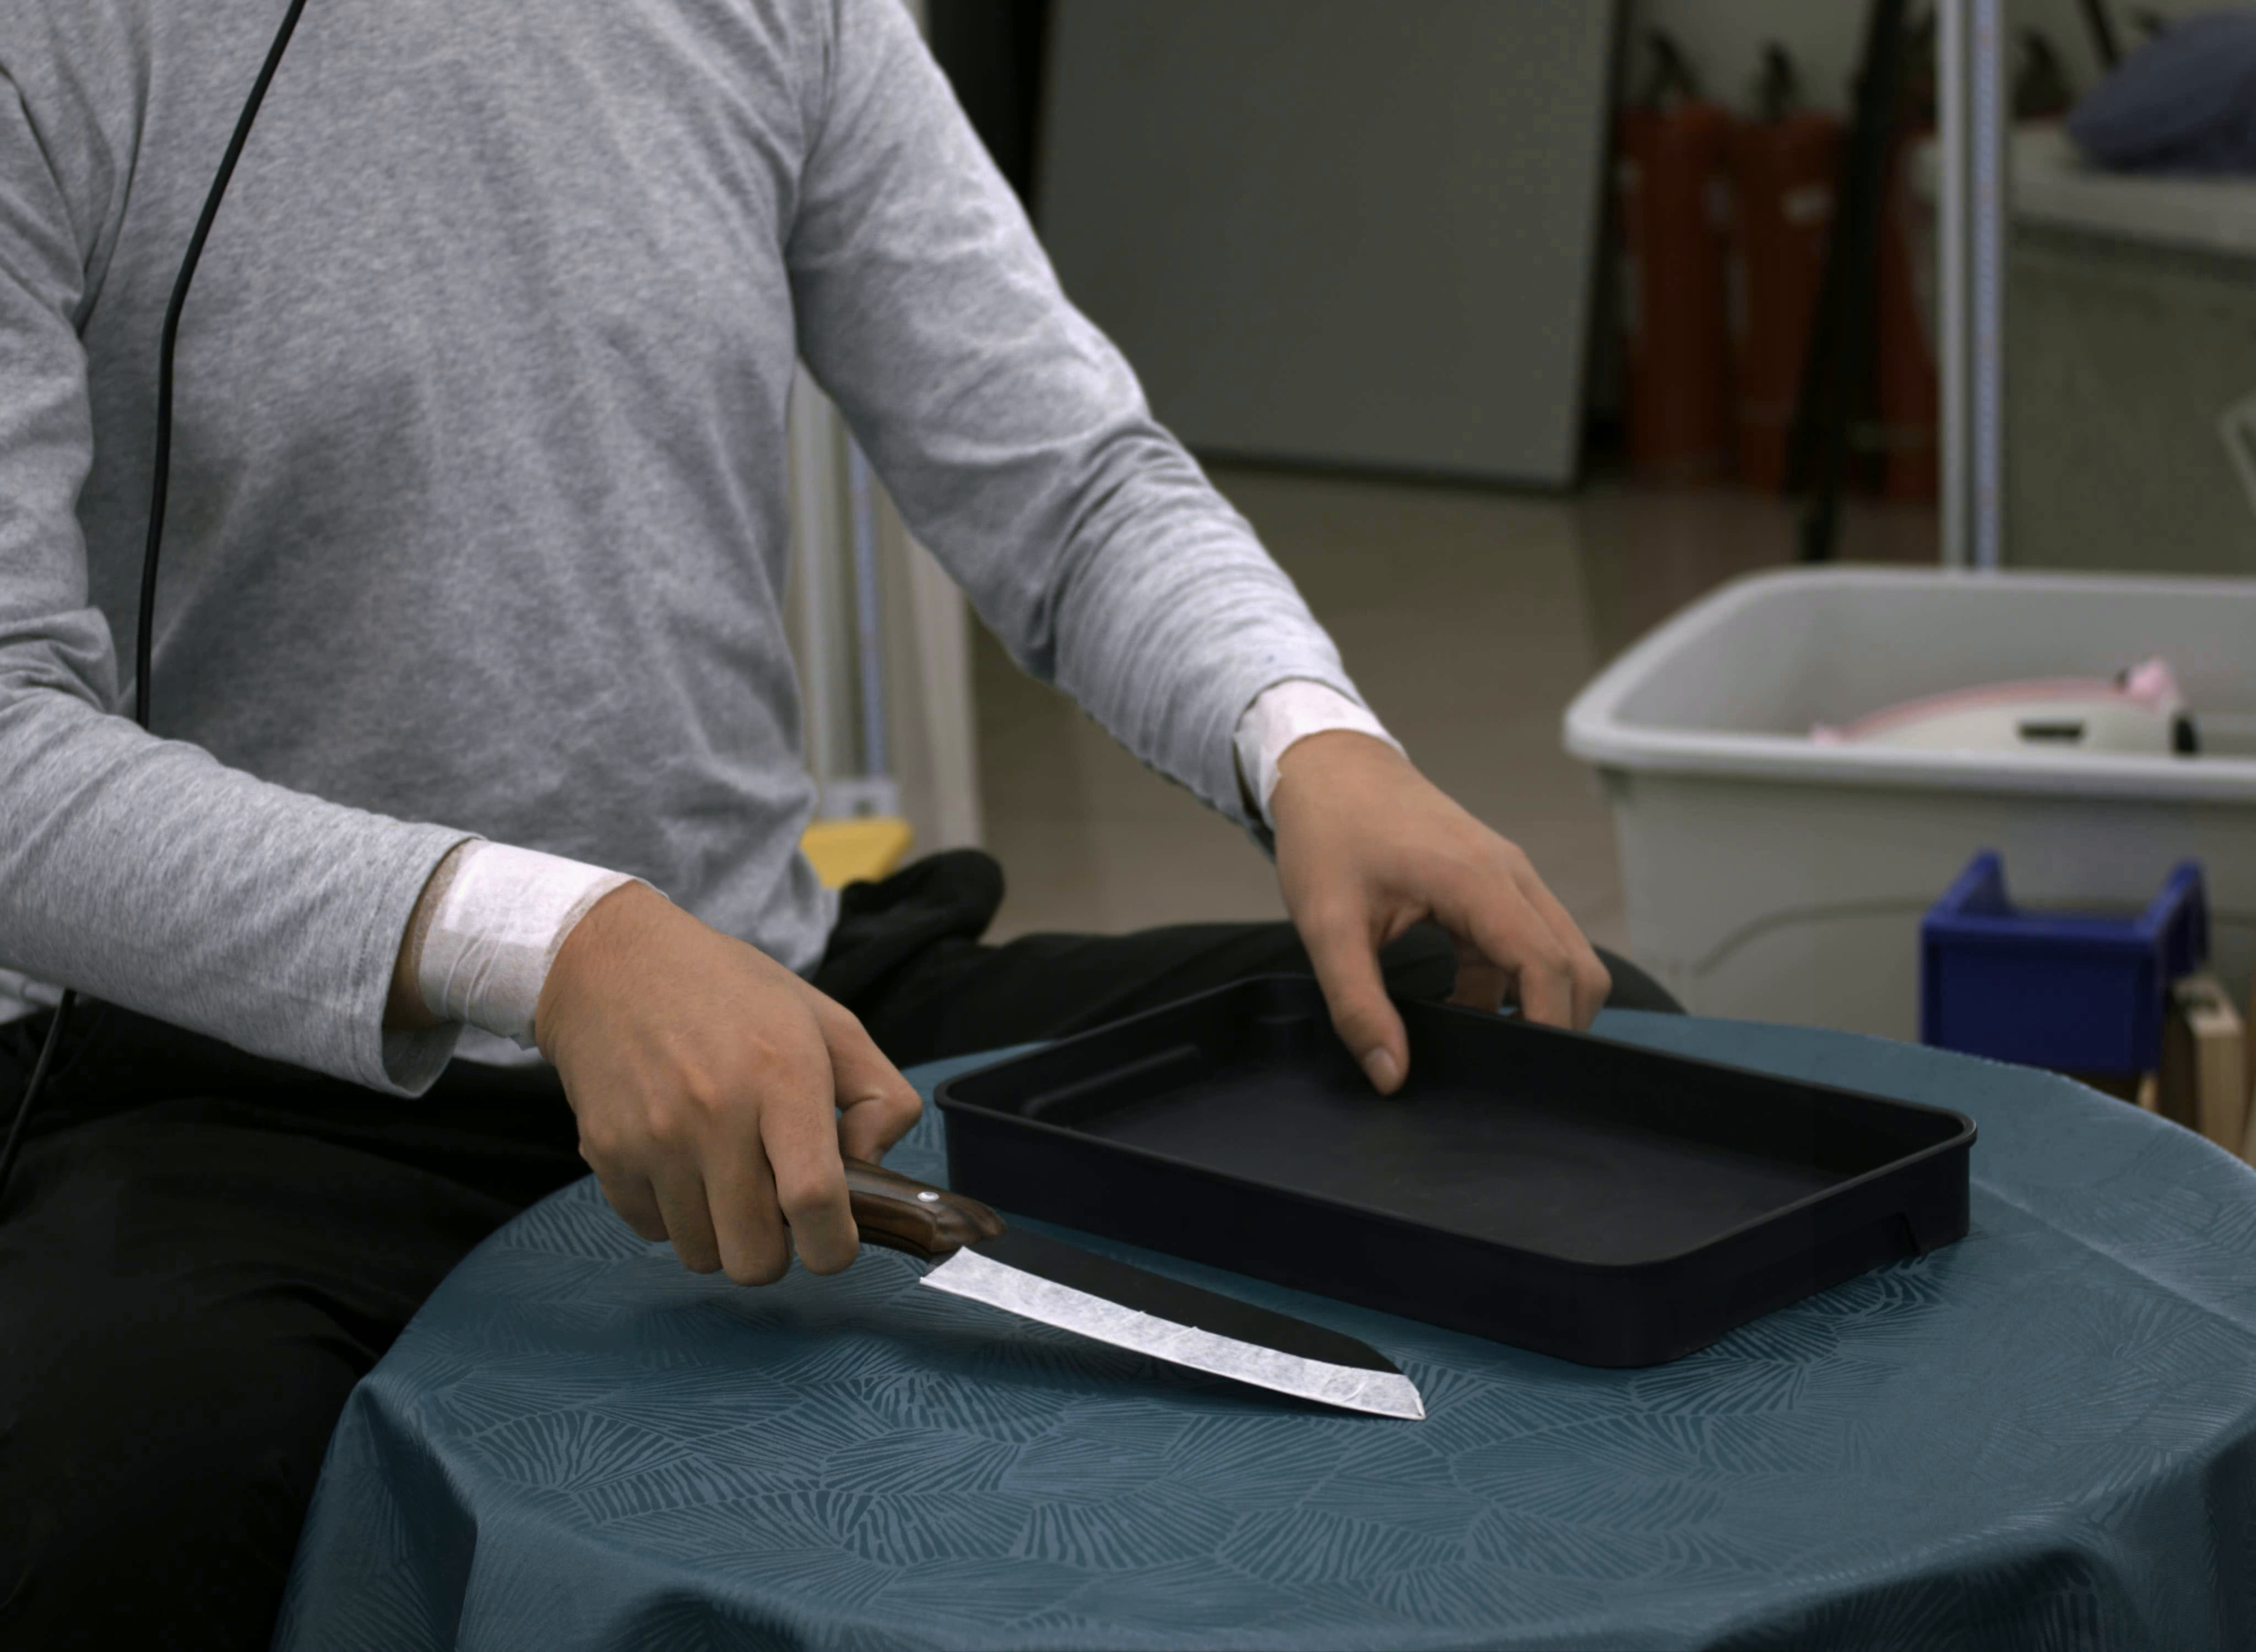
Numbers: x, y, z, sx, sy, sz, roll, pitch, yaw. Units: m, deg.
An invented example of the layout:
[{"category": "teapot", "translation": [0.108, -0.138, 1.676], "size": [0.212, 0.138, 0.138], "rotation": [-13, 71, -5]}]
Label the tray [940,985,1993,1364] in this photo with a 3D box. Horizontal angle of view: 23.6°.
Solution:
[{"category": "tray", "translation": [0.105, 0.107, 1.728], "size": [0.321, 0.037, 0.180], "rotation": [8, 18, 44]}]

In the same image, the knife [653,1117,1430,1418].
[{"category": "knife", "translation": [-0.030, 0.134, 1.626], "size": [0.291, 0.020, 0.049], "rotation": [16, 30, 32]}]
